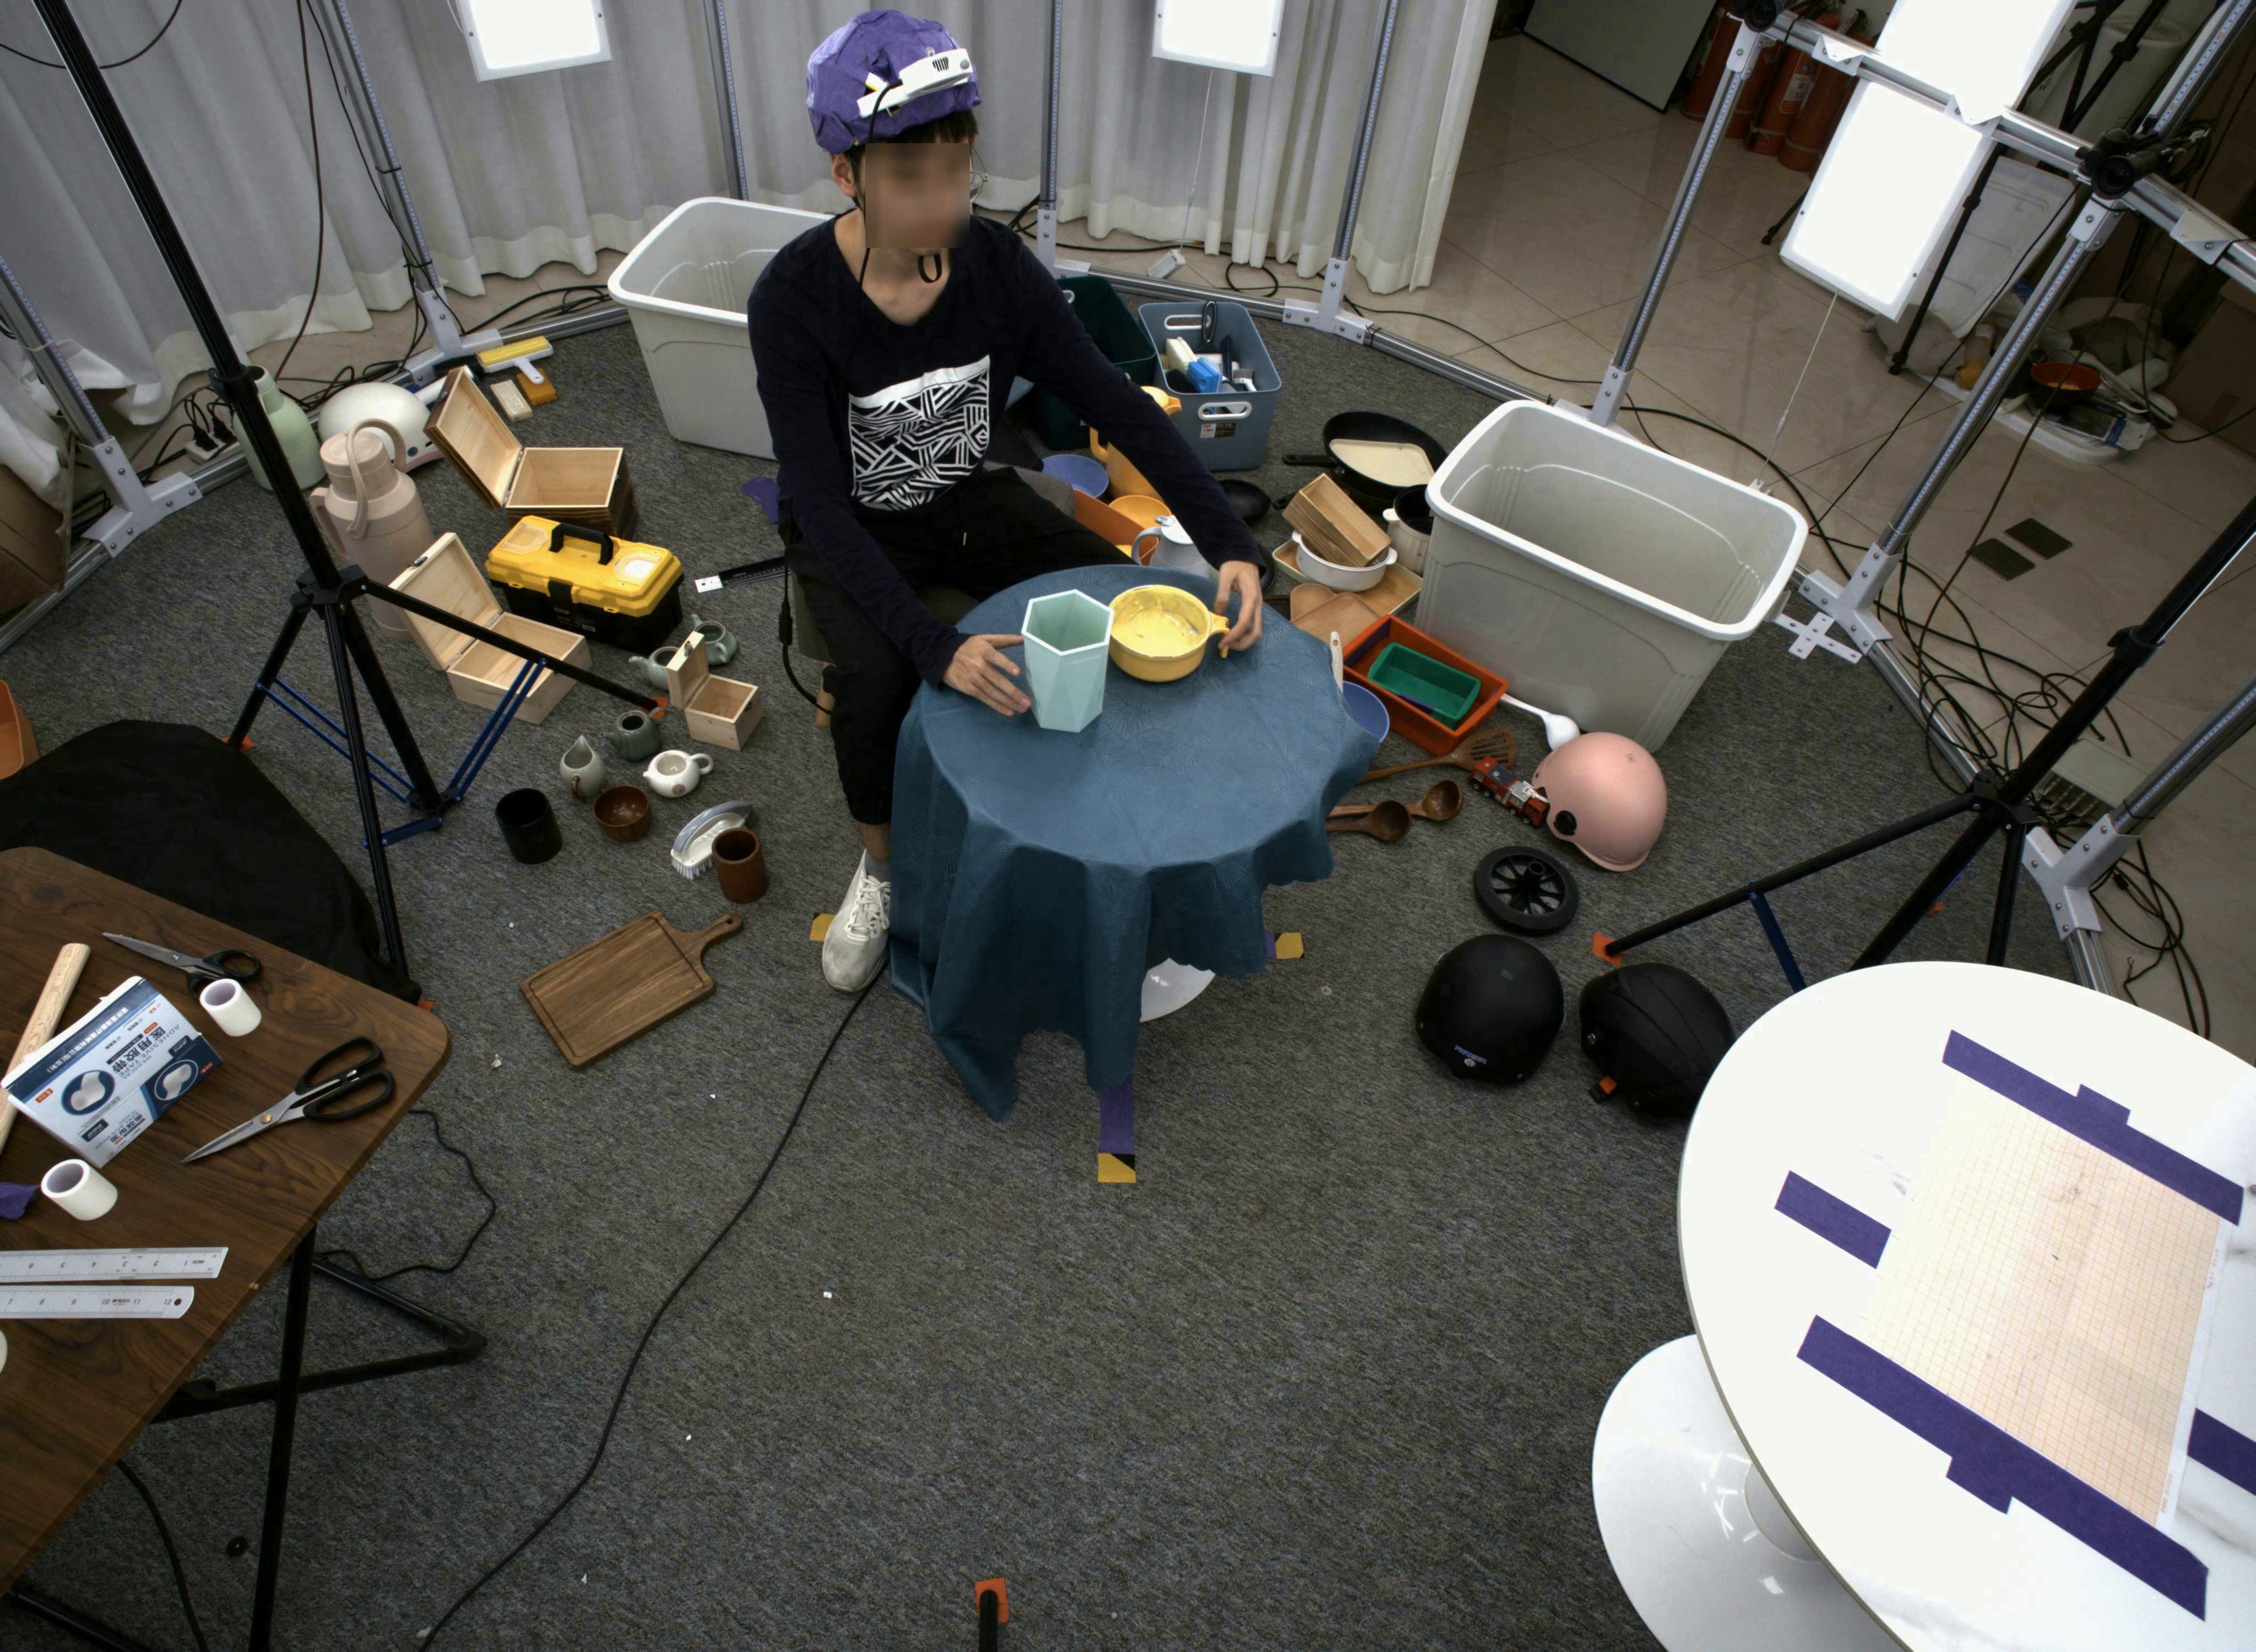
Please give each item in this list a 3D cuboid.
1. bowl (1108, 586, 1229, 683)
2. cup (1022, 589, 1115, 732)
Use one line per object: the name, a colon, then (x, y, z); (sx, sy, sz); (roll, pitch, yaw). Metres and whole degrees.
bowl: (0.056, -0.273, 1.867); (0.179, 0.072, 0.157); (-3, 47, -5)
cup: (-0.082, -0.219, 1.746); (0.131, 0.159, 0.118); (-16, 51, -18)
